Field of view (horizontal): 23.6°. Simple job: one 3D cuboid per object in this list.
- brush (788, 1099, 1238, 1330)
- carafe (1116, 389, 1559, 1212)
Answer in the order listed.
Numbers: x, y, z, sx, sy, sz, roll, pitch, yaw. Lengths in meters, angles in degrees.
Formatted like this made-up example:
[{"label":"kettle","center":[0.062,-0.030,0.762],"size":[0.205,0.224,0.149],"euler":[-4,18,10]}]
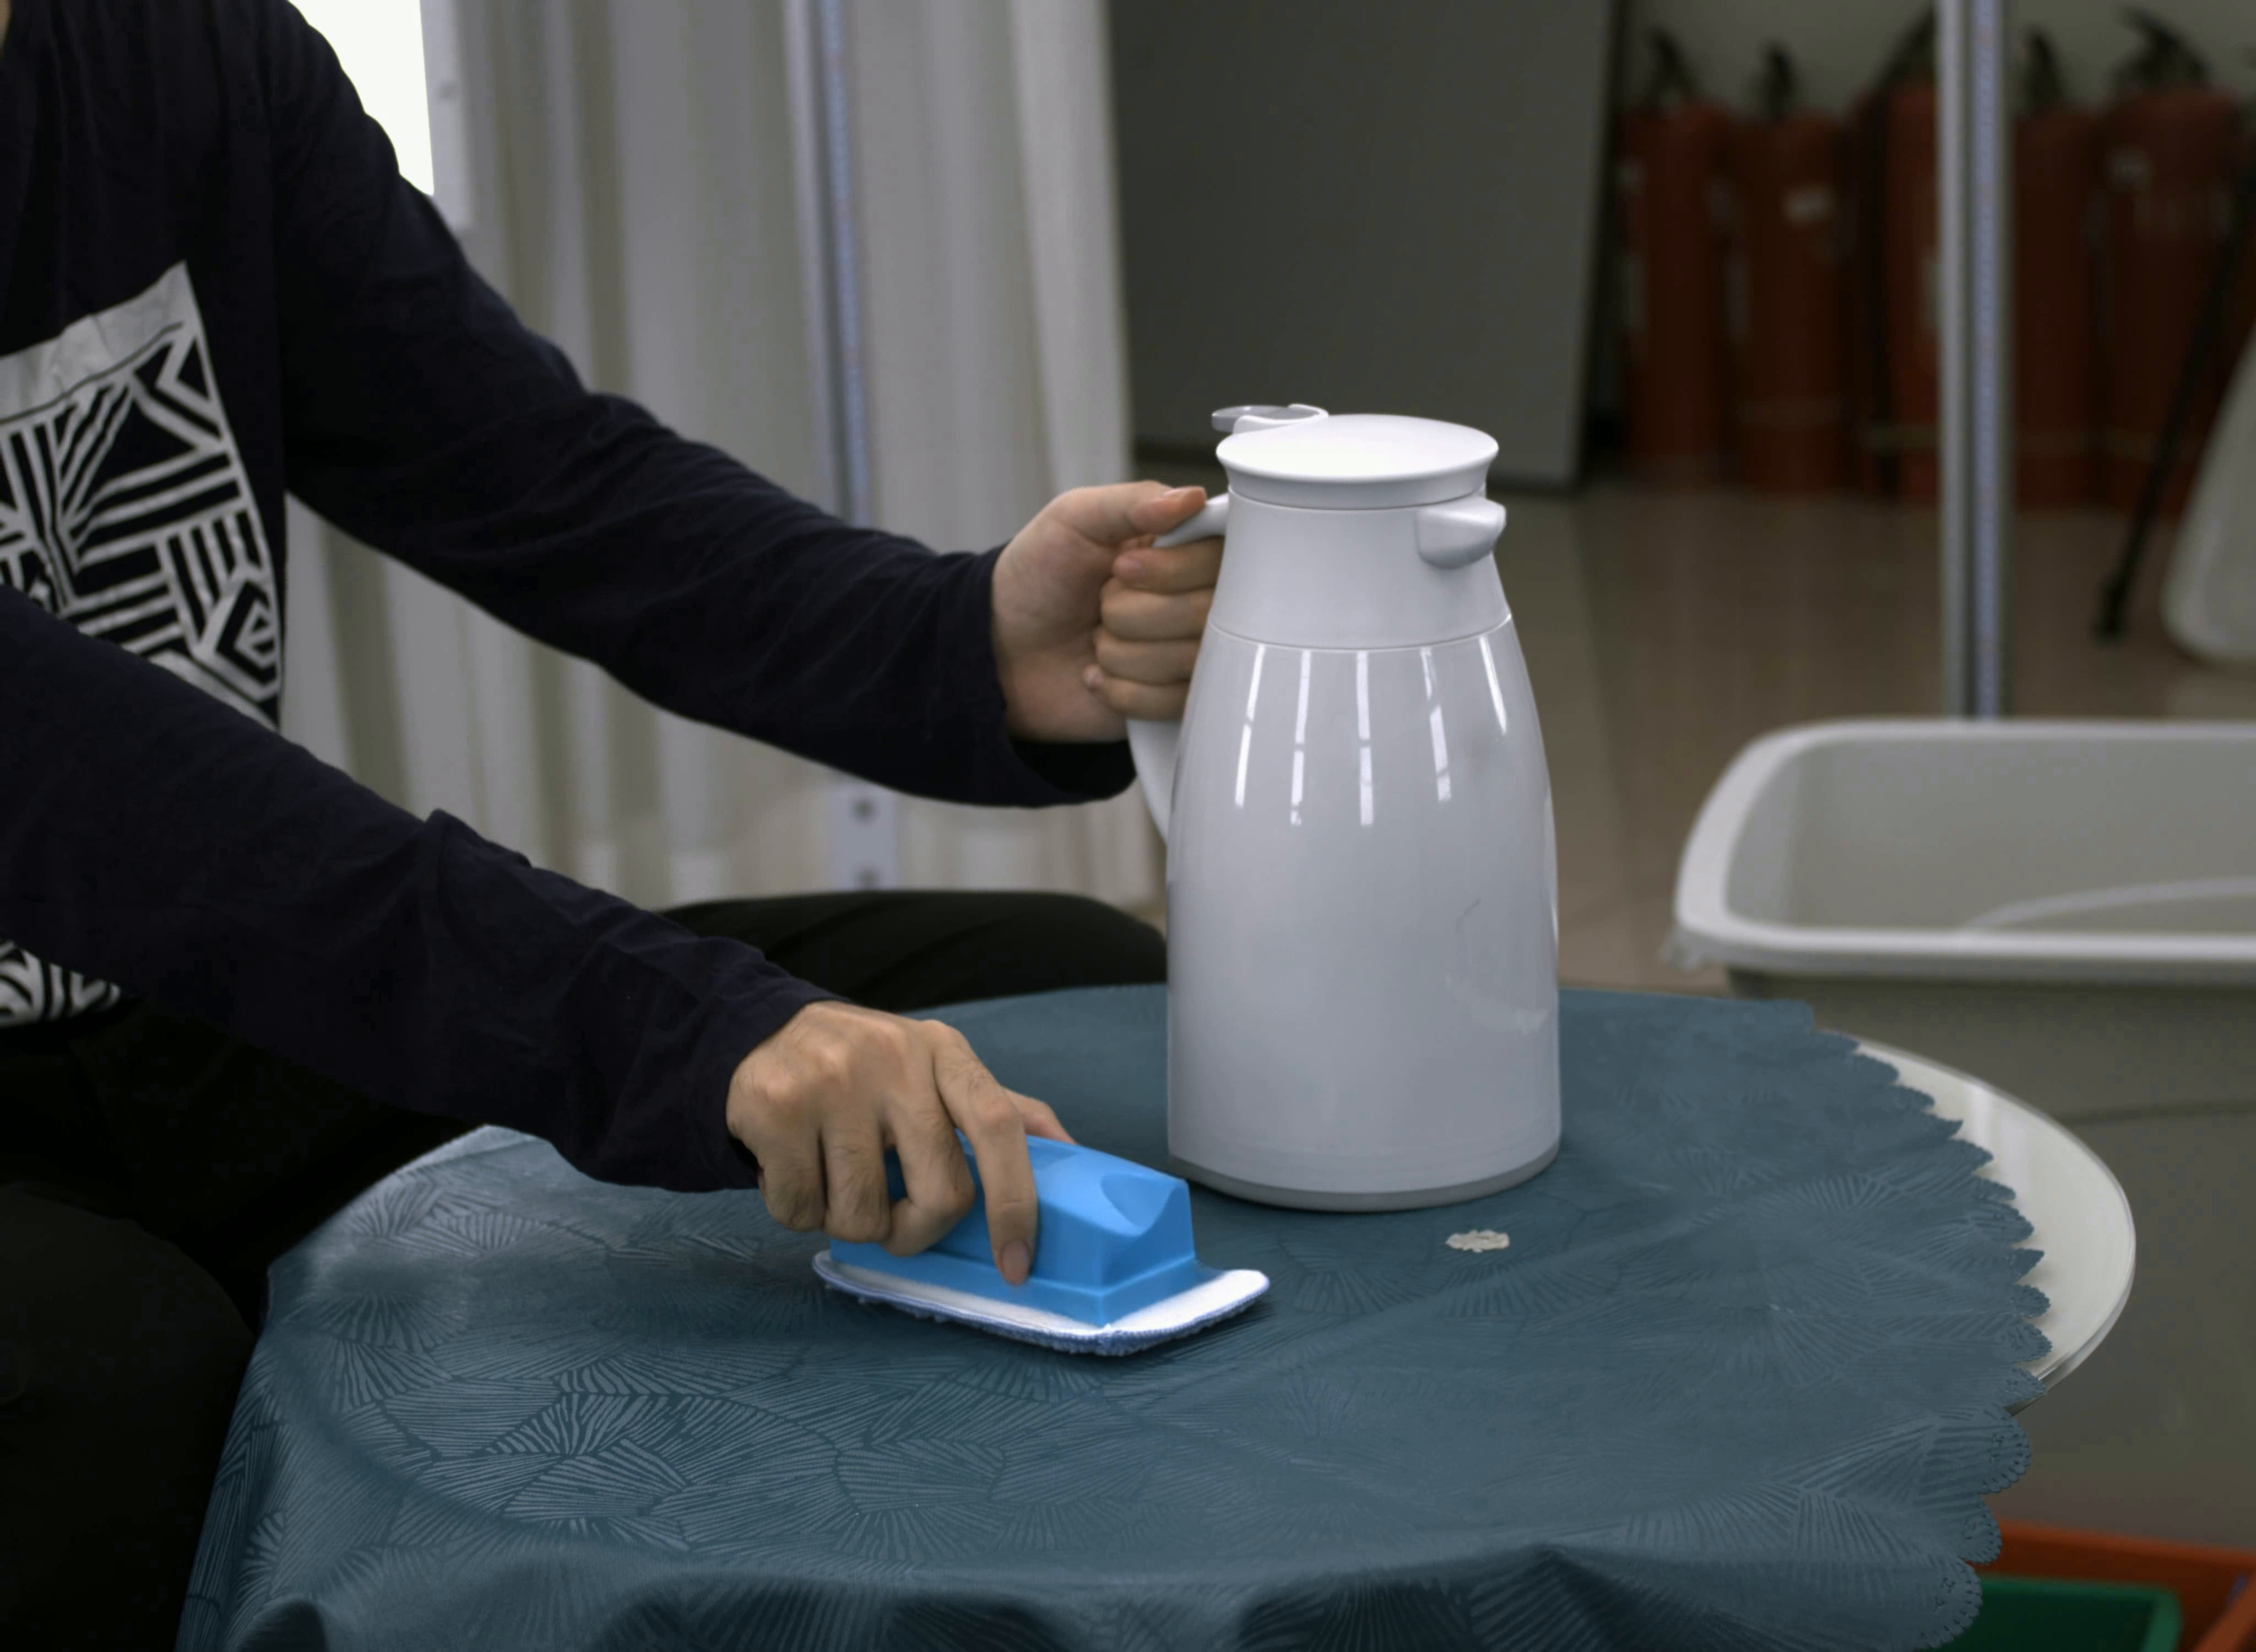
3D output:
[{"label":"brush","center":[-0.035,0.119,1.671],"size":[0.082,0.056,0.145],"euler":[-11,16,-42]},{"label":"carafe","center":[0.061,-0.016,1.775],"size":[0.130,0.251,0.169],"euler":[-16,19,-42]}]
